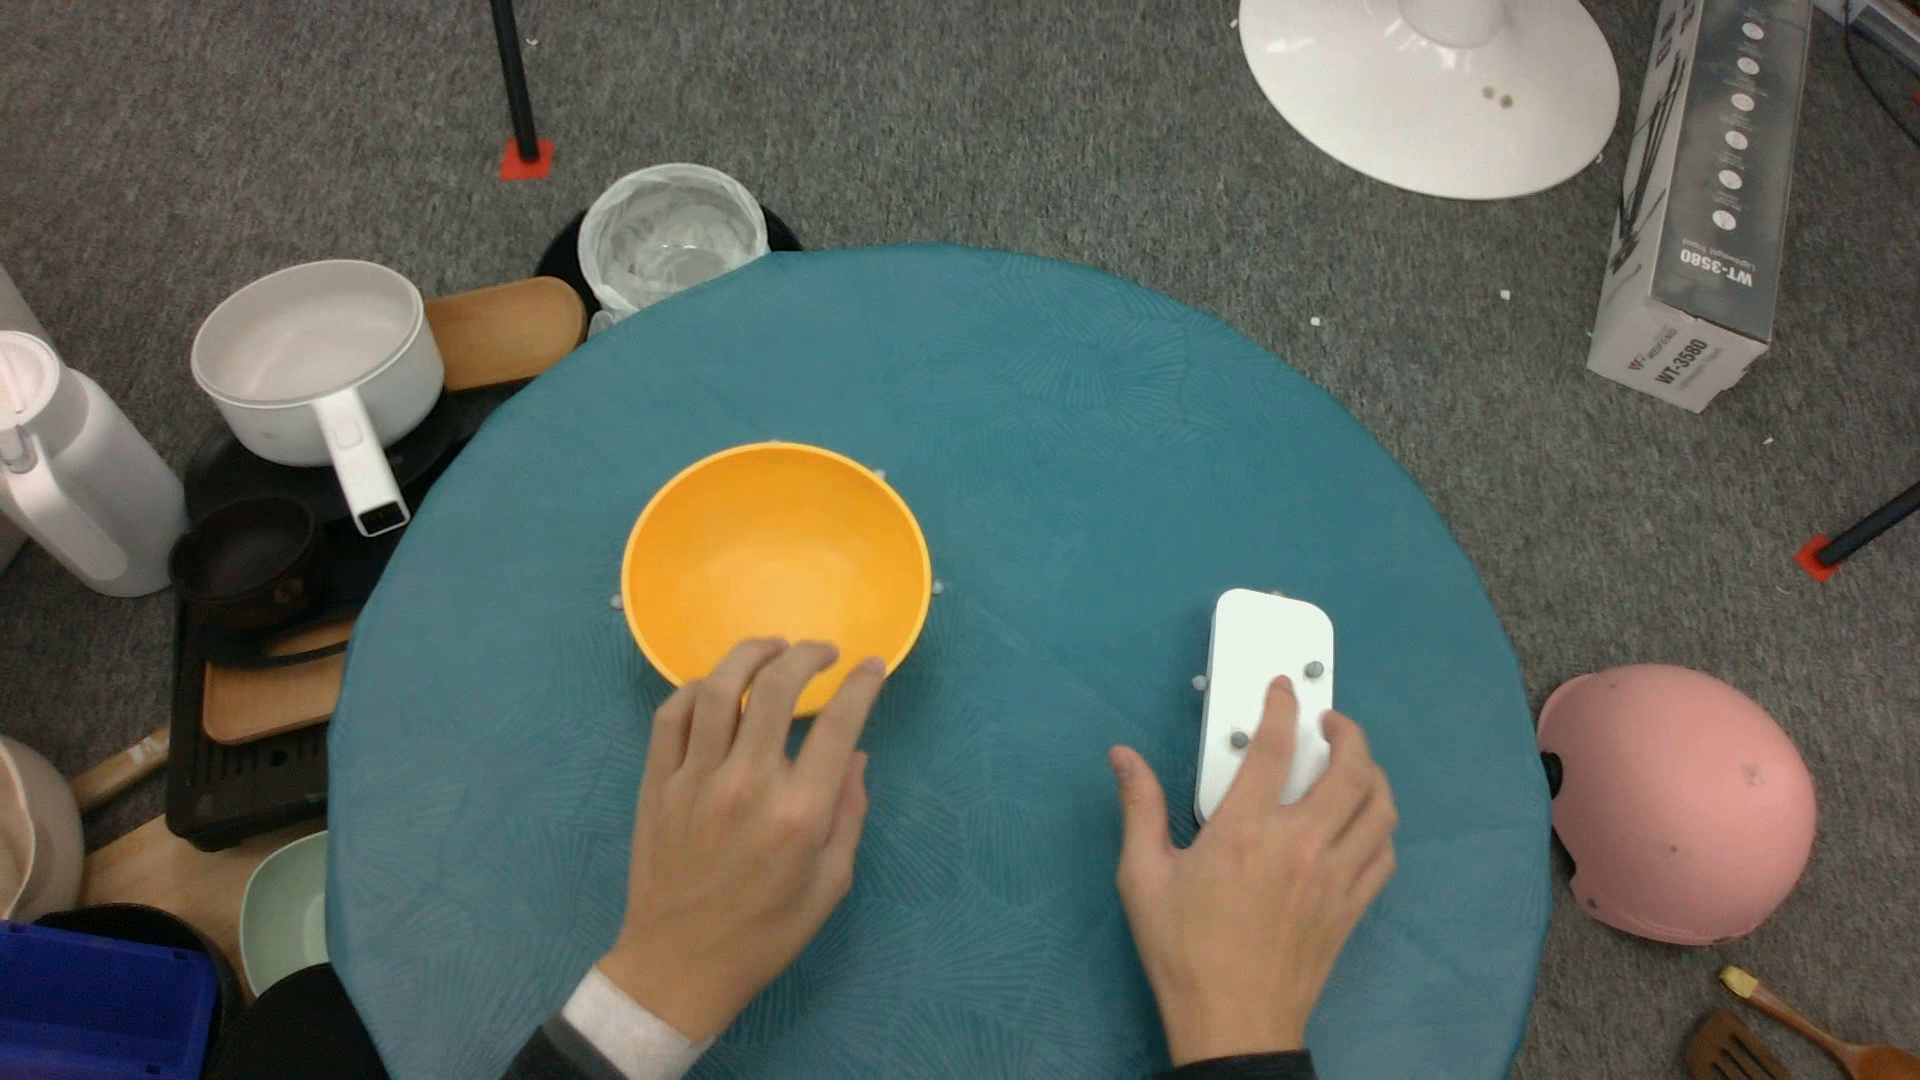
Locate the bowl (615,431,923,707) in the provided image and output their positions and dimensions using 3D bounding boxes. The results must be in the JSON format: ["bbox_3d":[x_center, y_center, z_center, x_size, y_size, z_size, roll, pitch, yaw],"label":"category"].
[{"bbox_3d":[-0.092,0.022,0.675,0.145,0.060,0.146,2,63,-5],"label":"bowl"}]

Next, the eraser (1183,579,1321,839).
[{"bbox_3d":[0.145,0.083,0.691,0.063,0.034,0.132,12,61,0],"label":"eraser"}]
